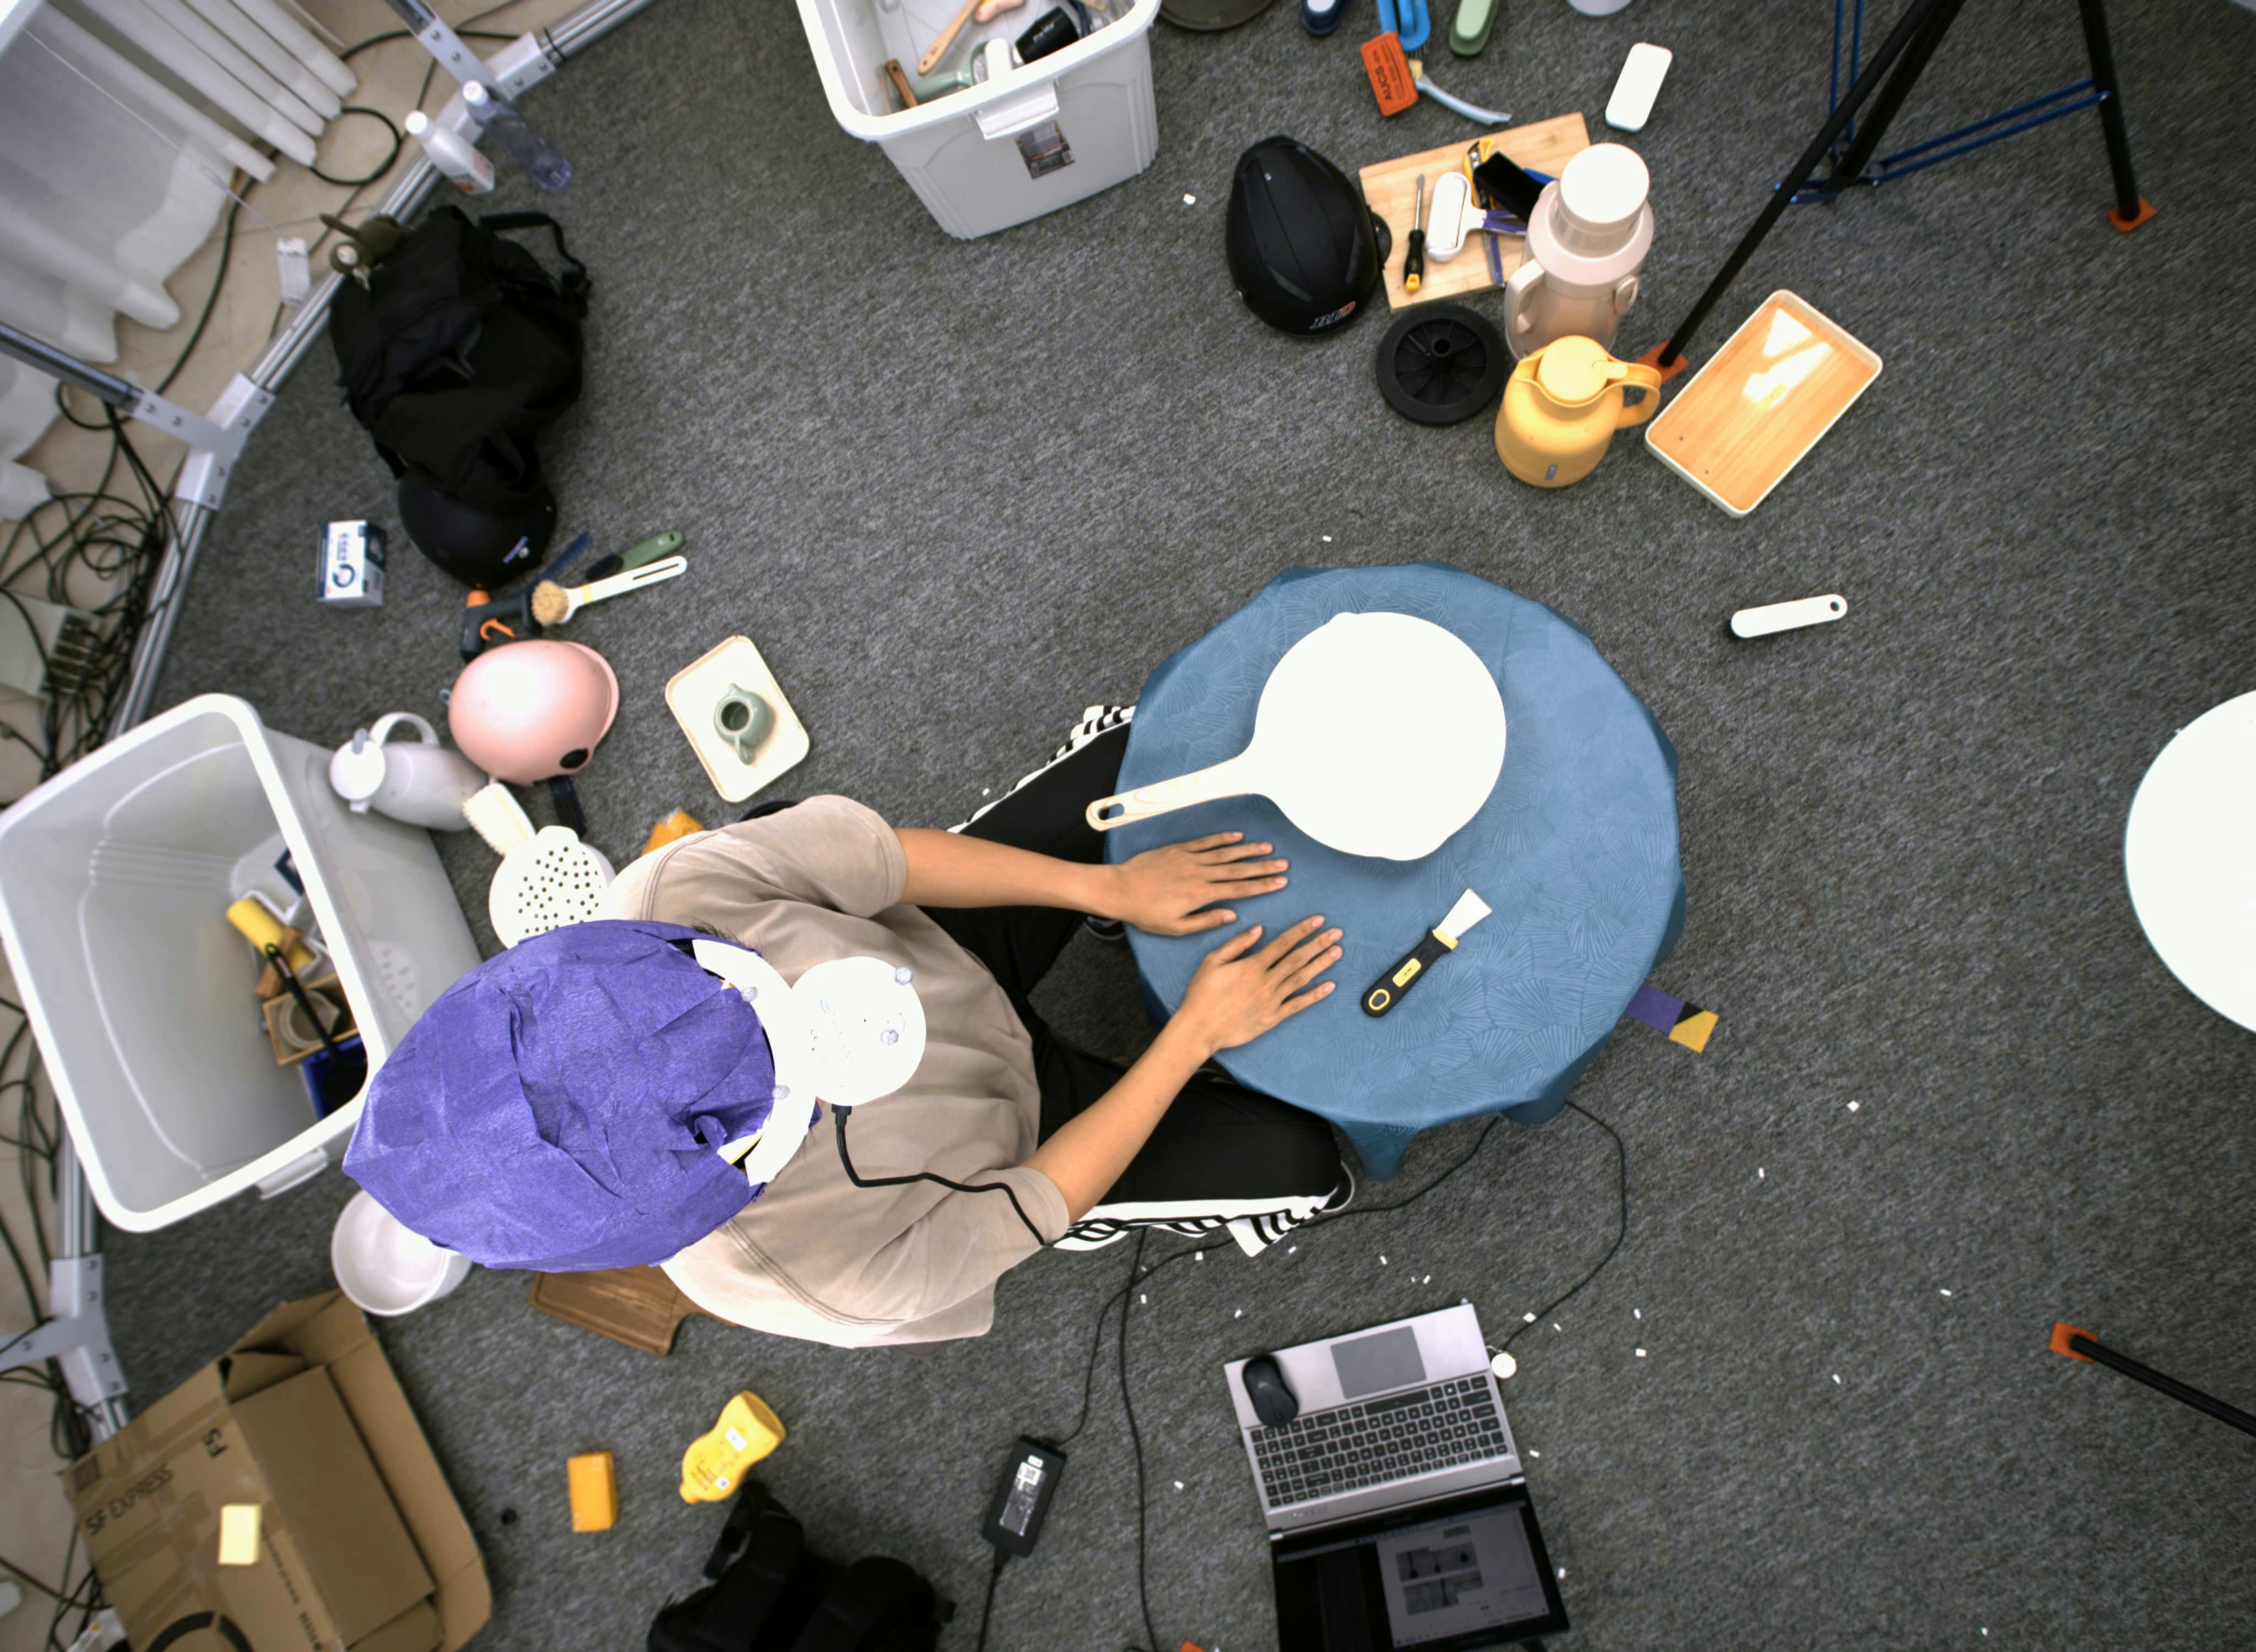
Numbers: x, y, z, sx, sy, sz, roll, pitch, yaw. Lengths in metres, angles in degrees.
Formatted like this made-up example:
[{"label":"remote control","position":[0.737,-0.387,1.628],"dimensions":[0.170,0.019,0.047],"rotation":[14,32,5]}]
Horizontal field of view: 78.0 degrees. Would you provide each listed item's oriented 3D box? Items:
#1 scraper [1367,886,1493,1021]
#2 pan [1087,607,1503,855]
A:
[{"label":"scraper","position":[0.313,0.135,1.442],"dimensions":[0.039,0.015,0.171],"rotation":[43,92,6]},{"label":"pan","position":[0.170,-0.069,1.441],"dimensions":[0.437,0.102,0.262],"rotation":[-18,86,9]}]
